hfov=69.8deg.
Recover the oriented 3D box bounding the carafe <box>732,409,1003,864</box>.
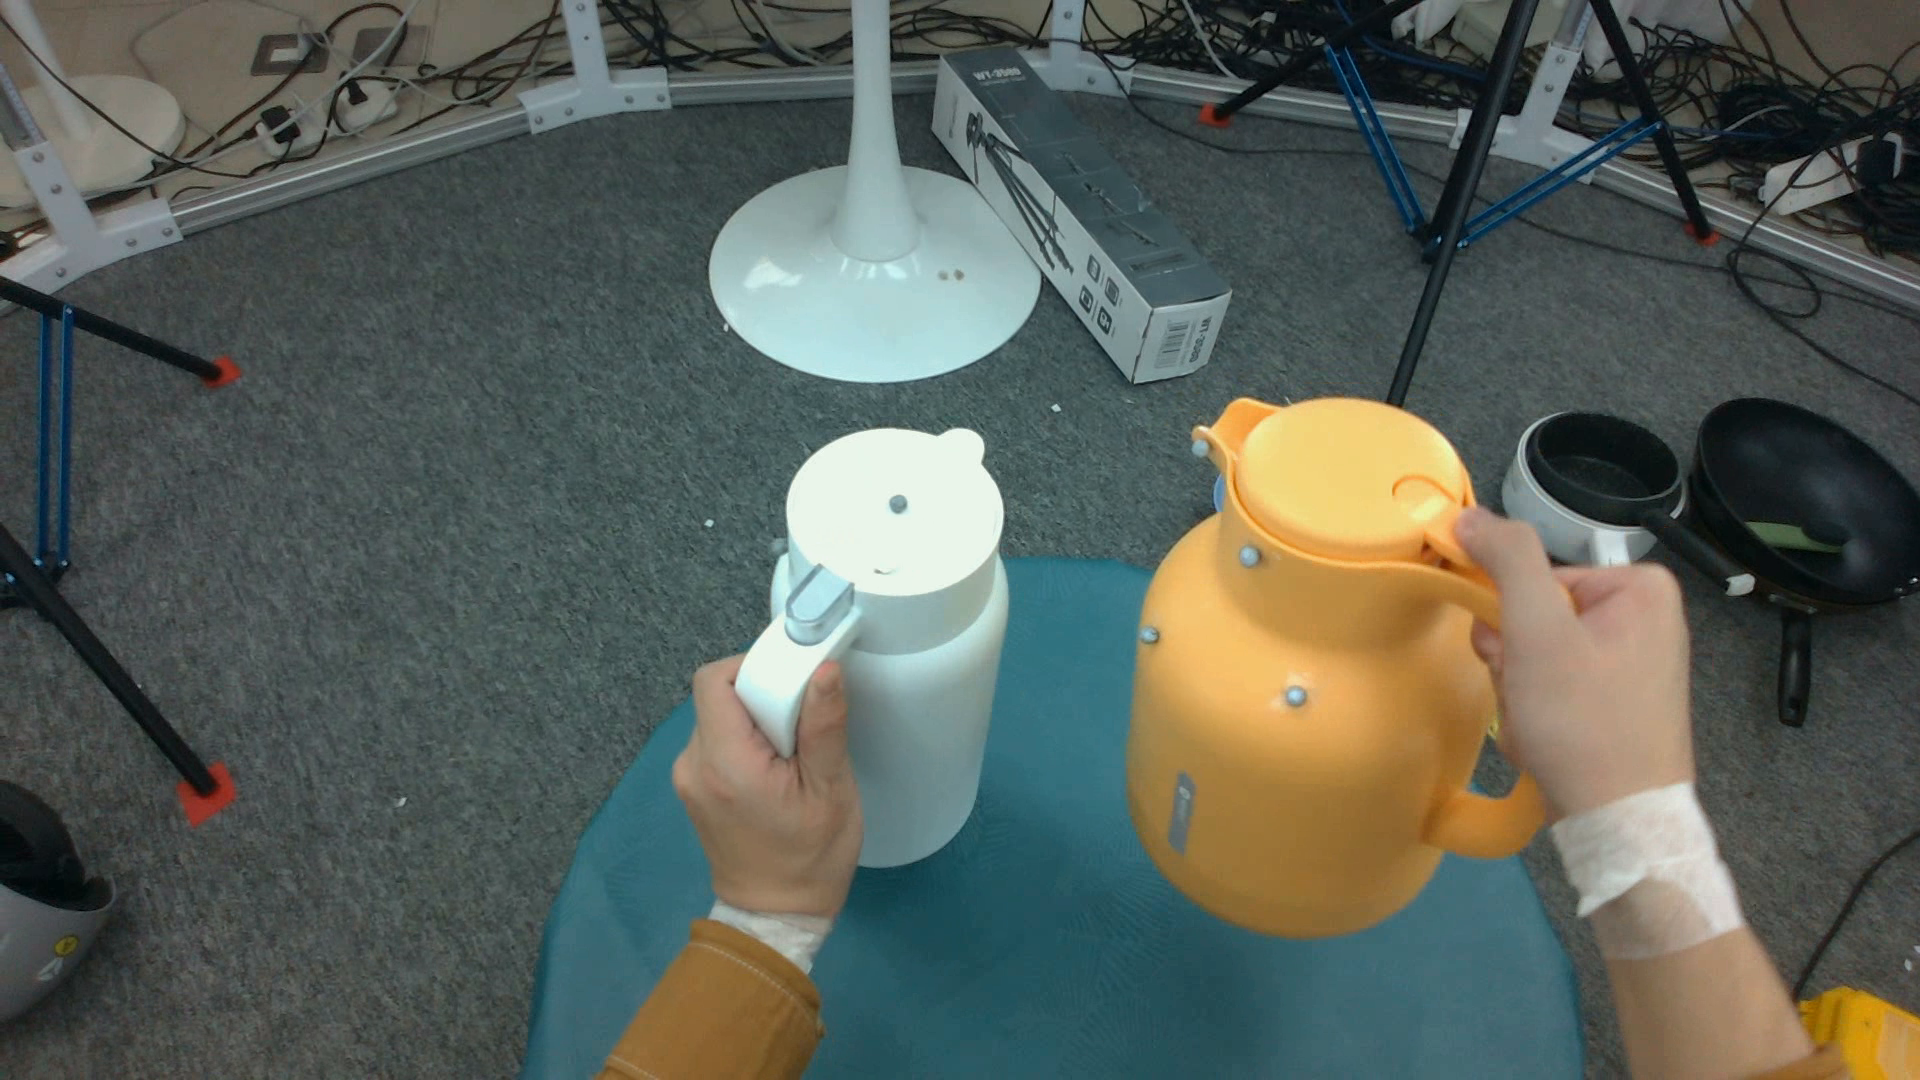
[{"bbox_3d":[-0.049,0.074,0.712,0.124,0.267,0.173,28,55,14],"label":"carafe"}]

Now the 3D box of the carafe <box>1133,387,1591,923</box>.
[{"bbox_3d":[0.174,0.063,0.629,0.164,0.259,0.202,-34,50,-23],"label":"carafe"}]
